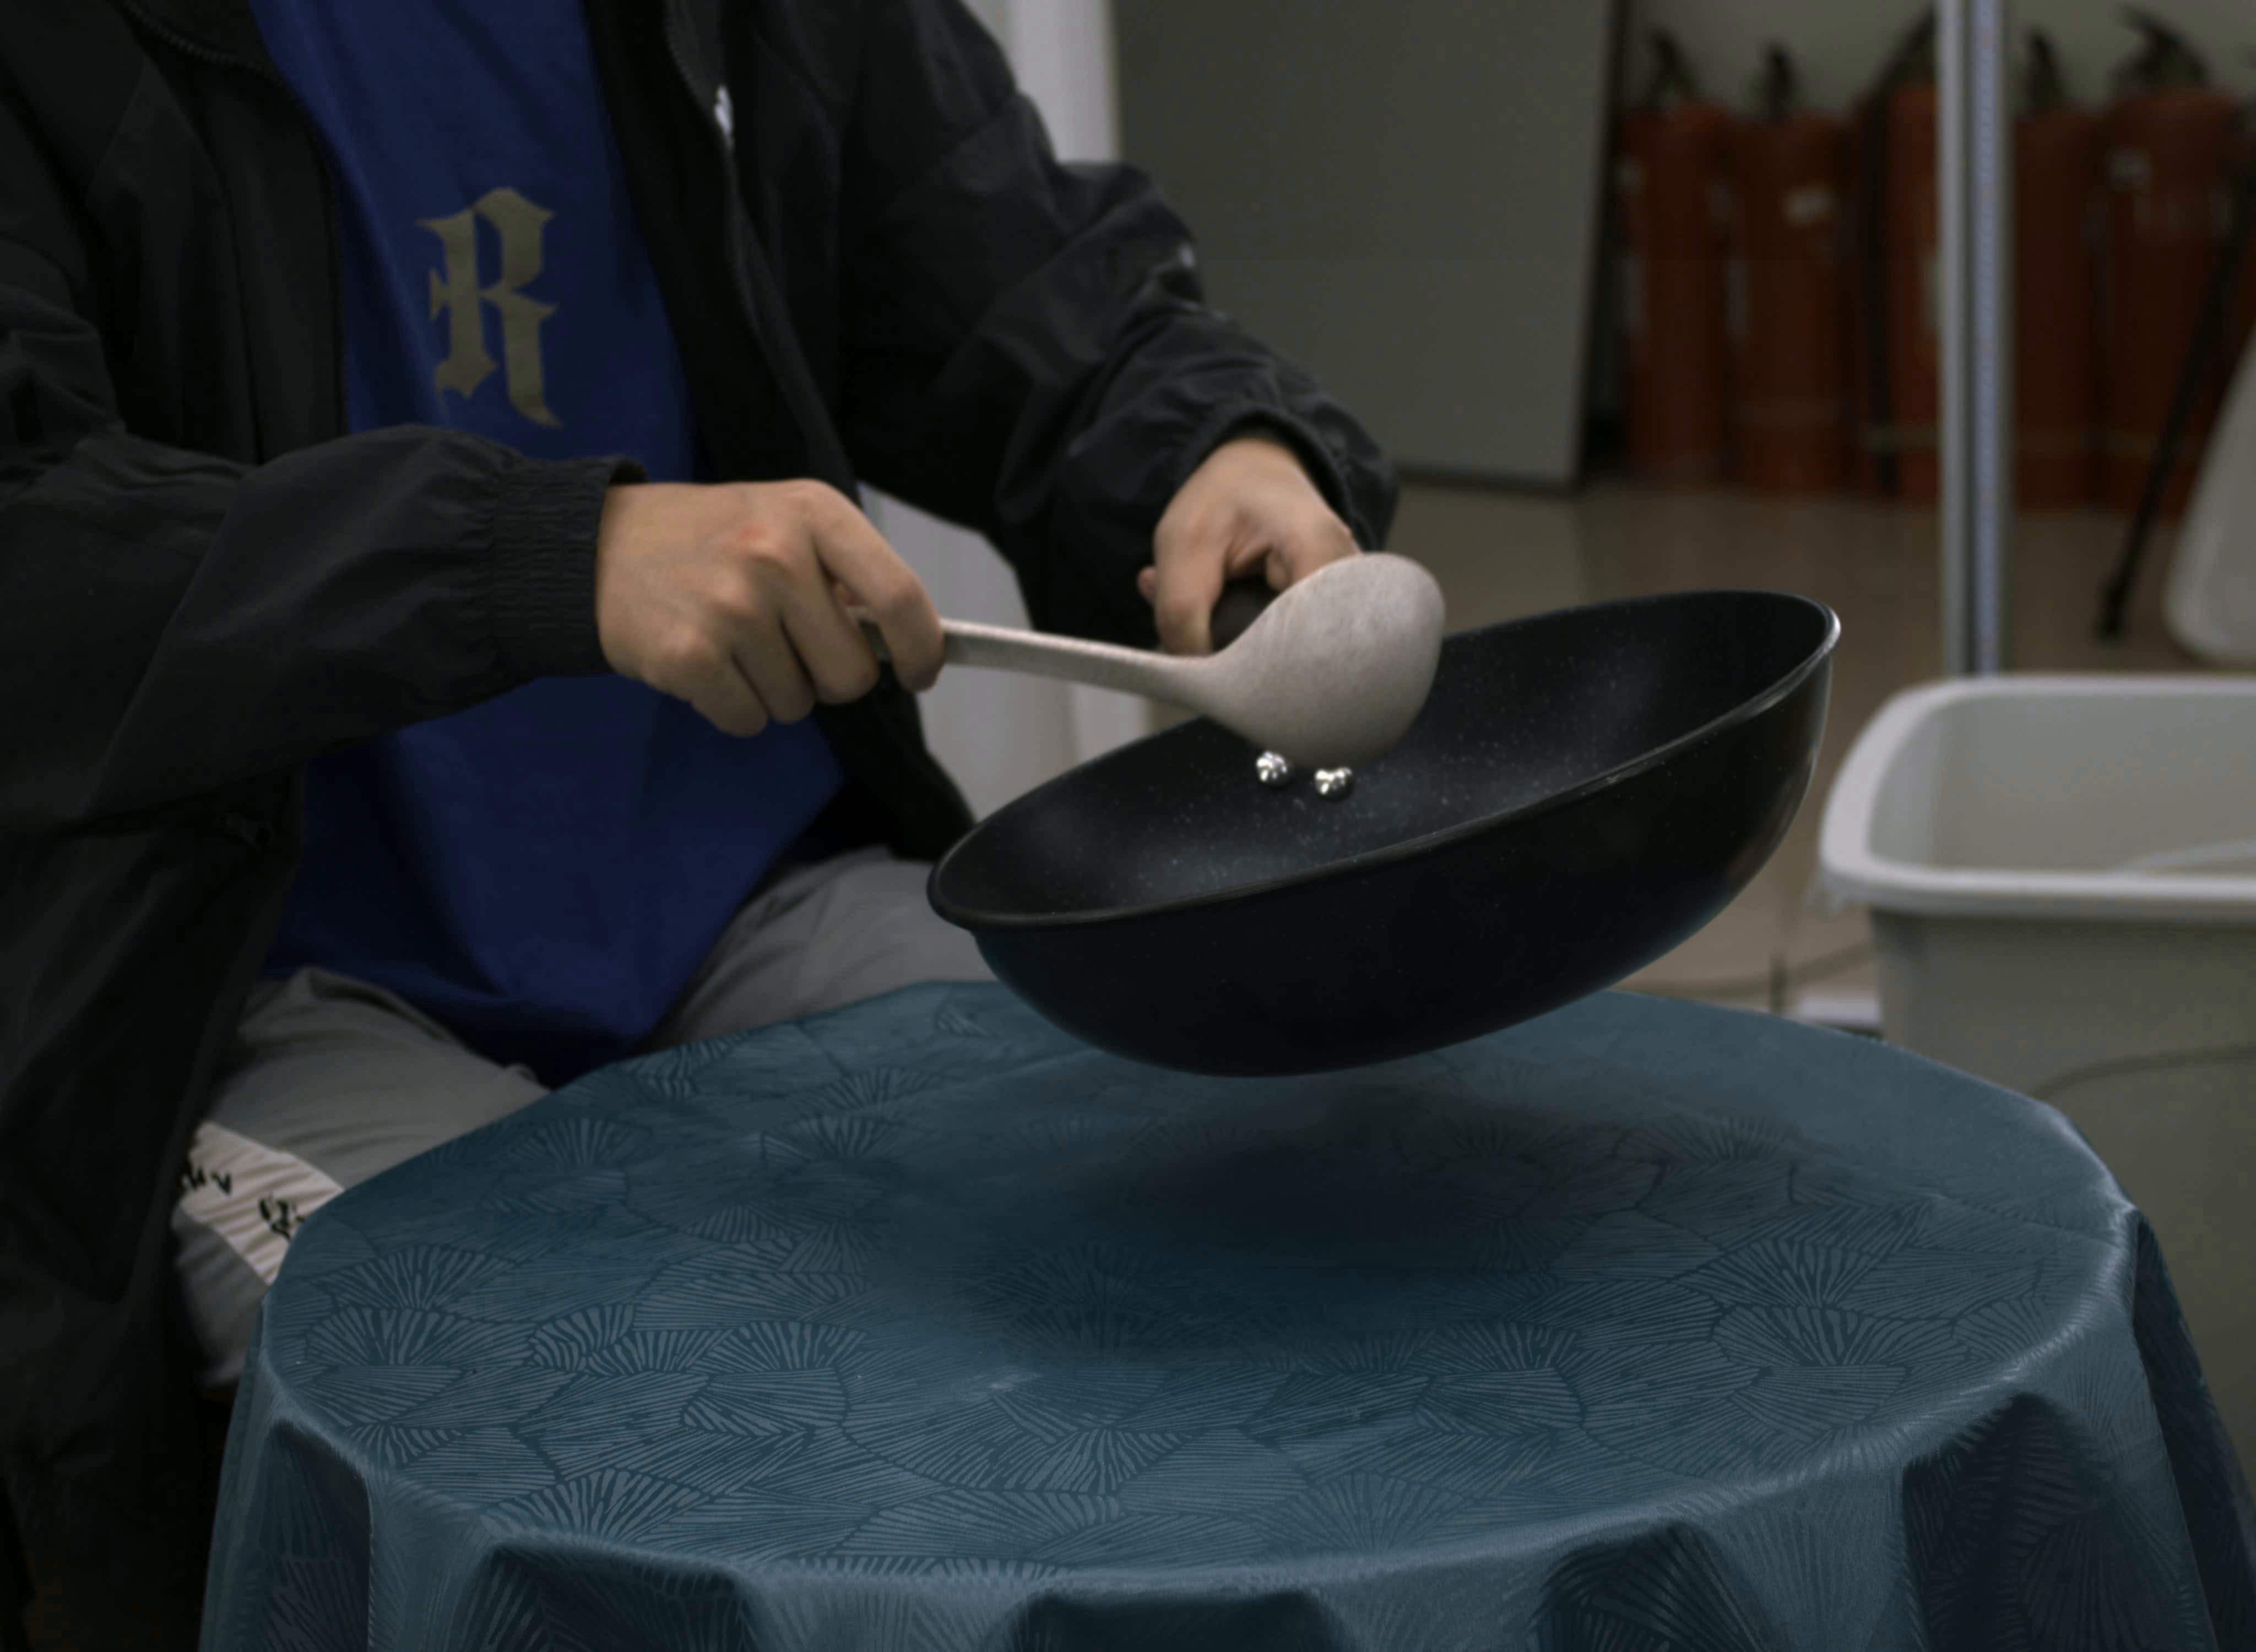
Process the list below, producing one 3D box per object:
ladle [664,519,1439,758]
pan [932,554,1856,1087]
[{"bbox_3d":[-0.027,-0.065,1.846,0.275,0.089,0.069,2,48,25],"label":"ladle"},{"bbox_3d":[0.080,-0.010,1.818,0.306,0.112,0.479,-17,11,-5],"label":"pan"}]
